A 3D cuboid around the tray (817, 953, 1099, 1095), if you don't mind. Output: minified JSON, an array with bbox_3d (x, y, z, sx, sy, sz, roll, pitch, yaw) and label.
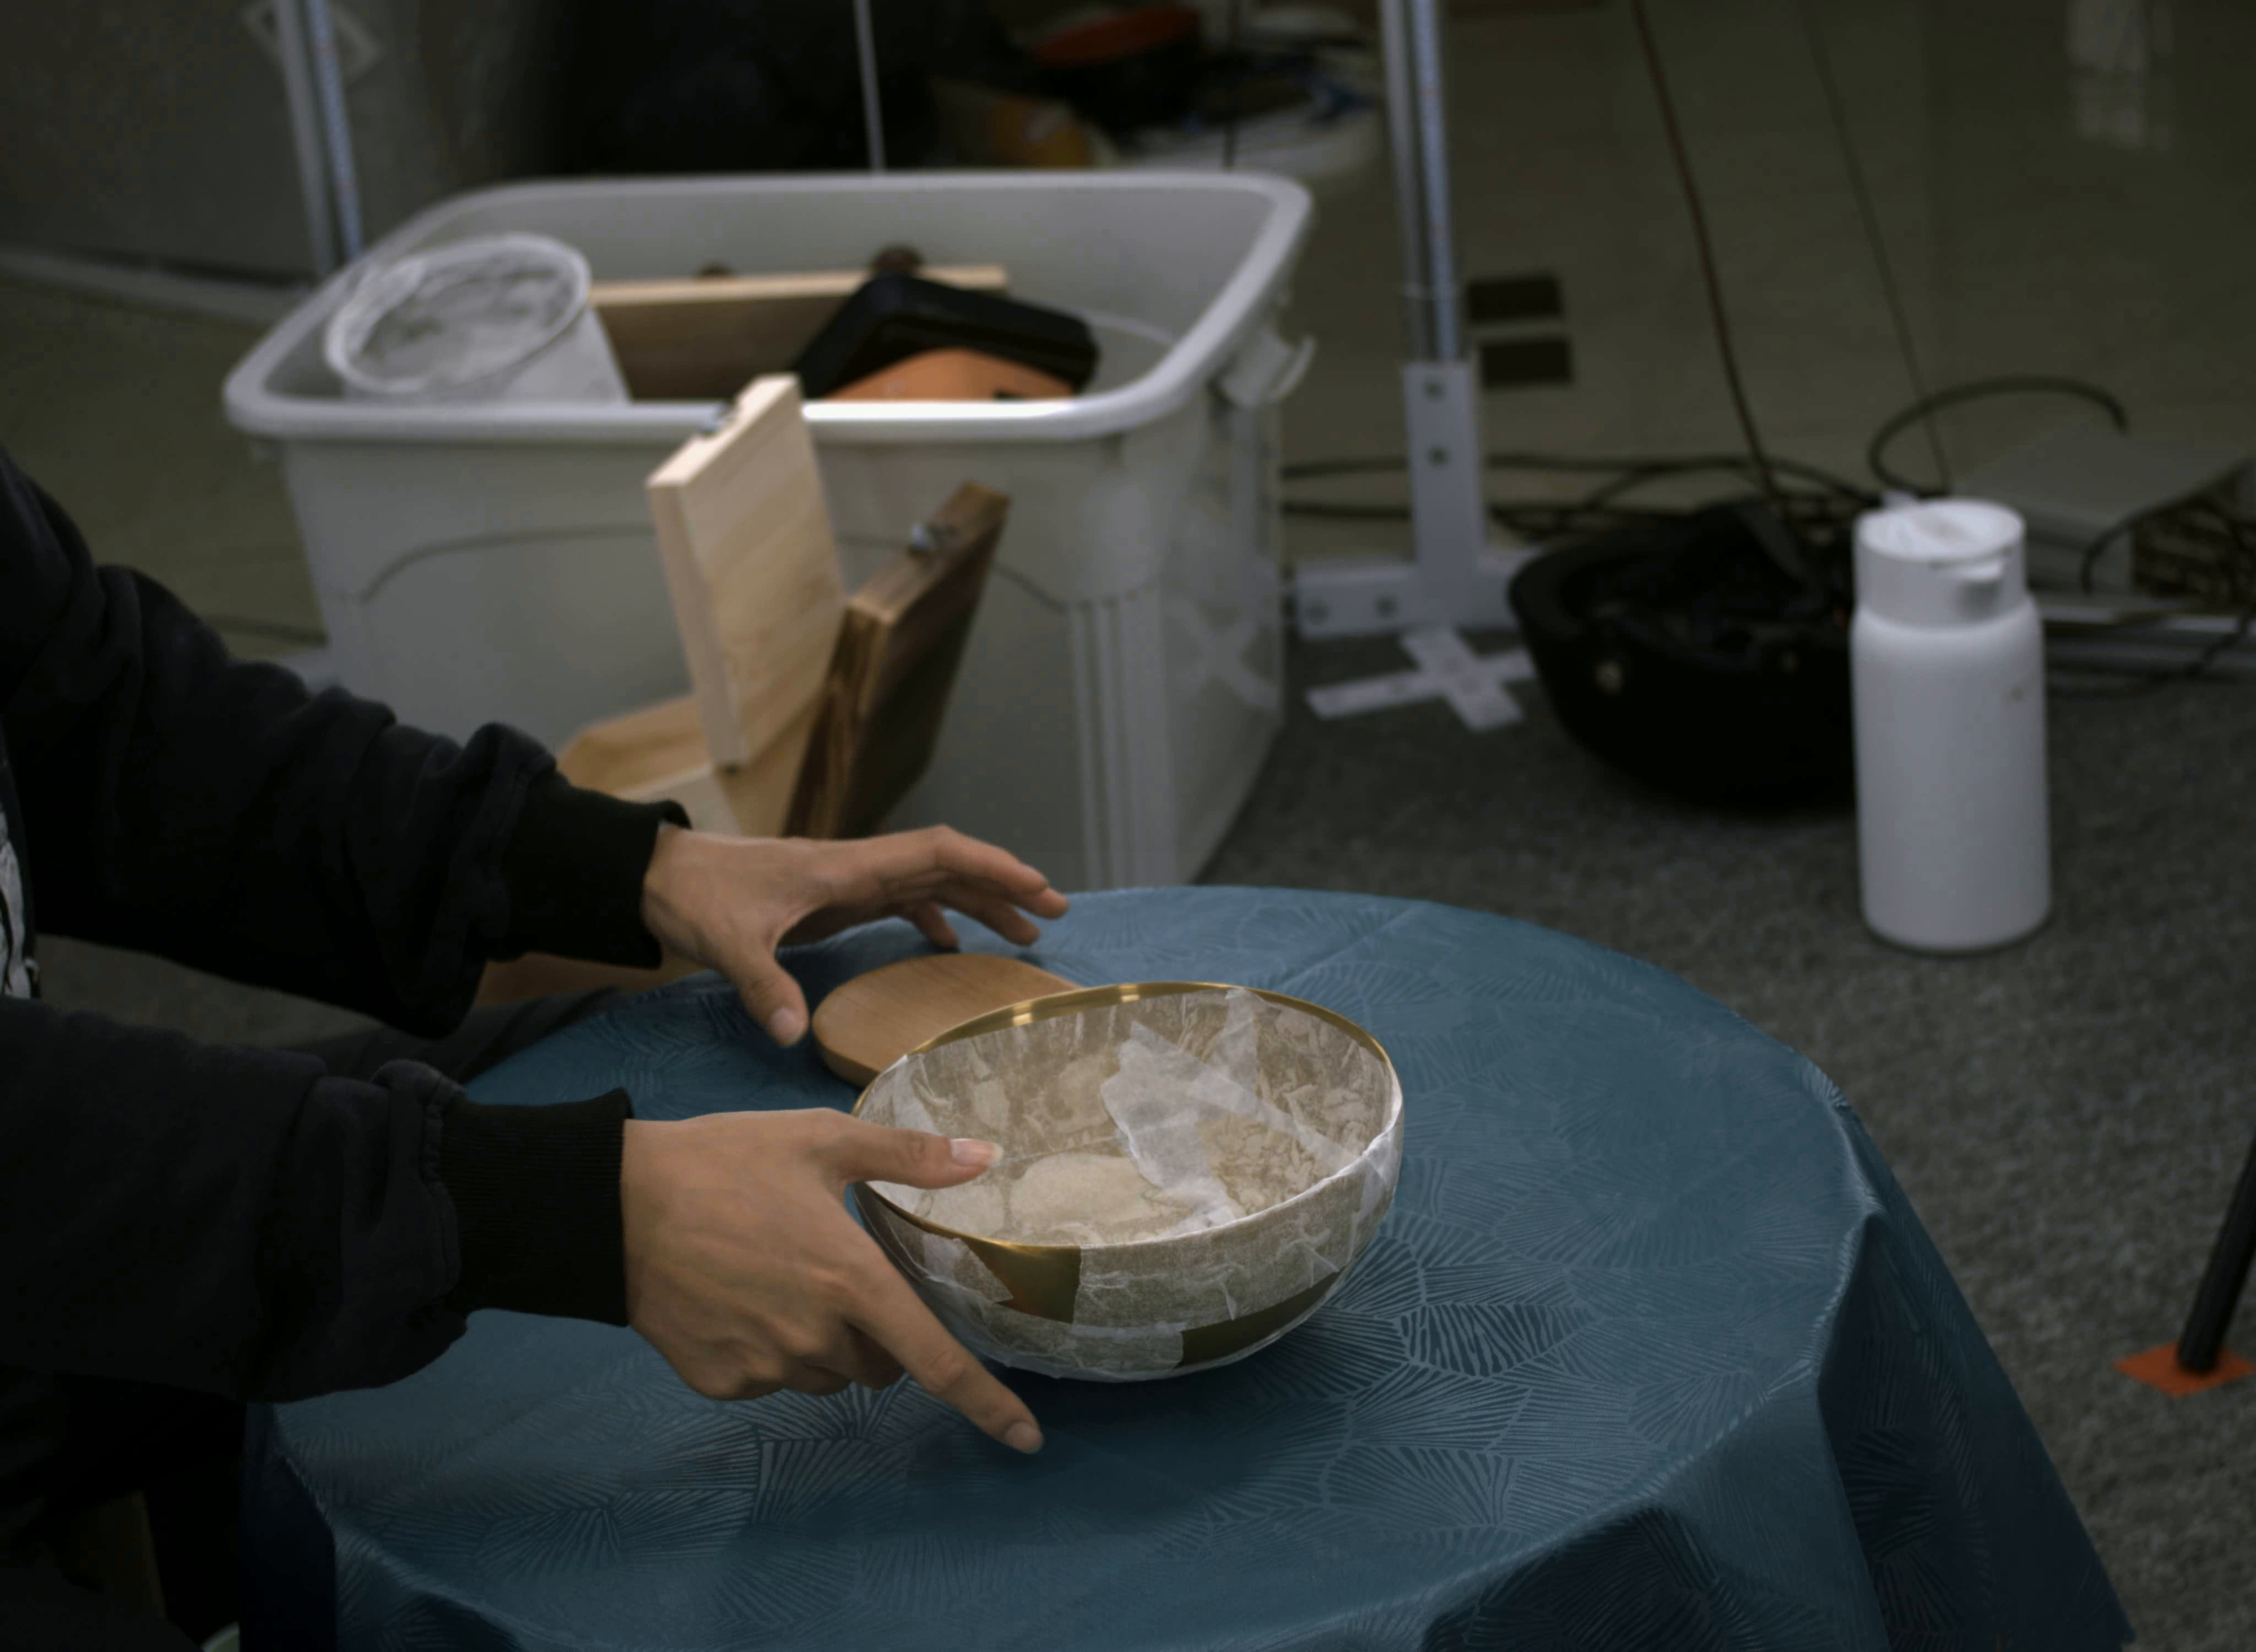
[{"bbox_3d":[-0.031,0.098,2.232,0.101,0.020,0.229,-29,35,-34],"label":"tray"}]

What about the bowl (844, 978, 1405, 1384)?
[{"bbox_3d":[0.001,0.138,2.042,0.214,0.096,0.211,-6,26,3],"label":"bowl"}]
